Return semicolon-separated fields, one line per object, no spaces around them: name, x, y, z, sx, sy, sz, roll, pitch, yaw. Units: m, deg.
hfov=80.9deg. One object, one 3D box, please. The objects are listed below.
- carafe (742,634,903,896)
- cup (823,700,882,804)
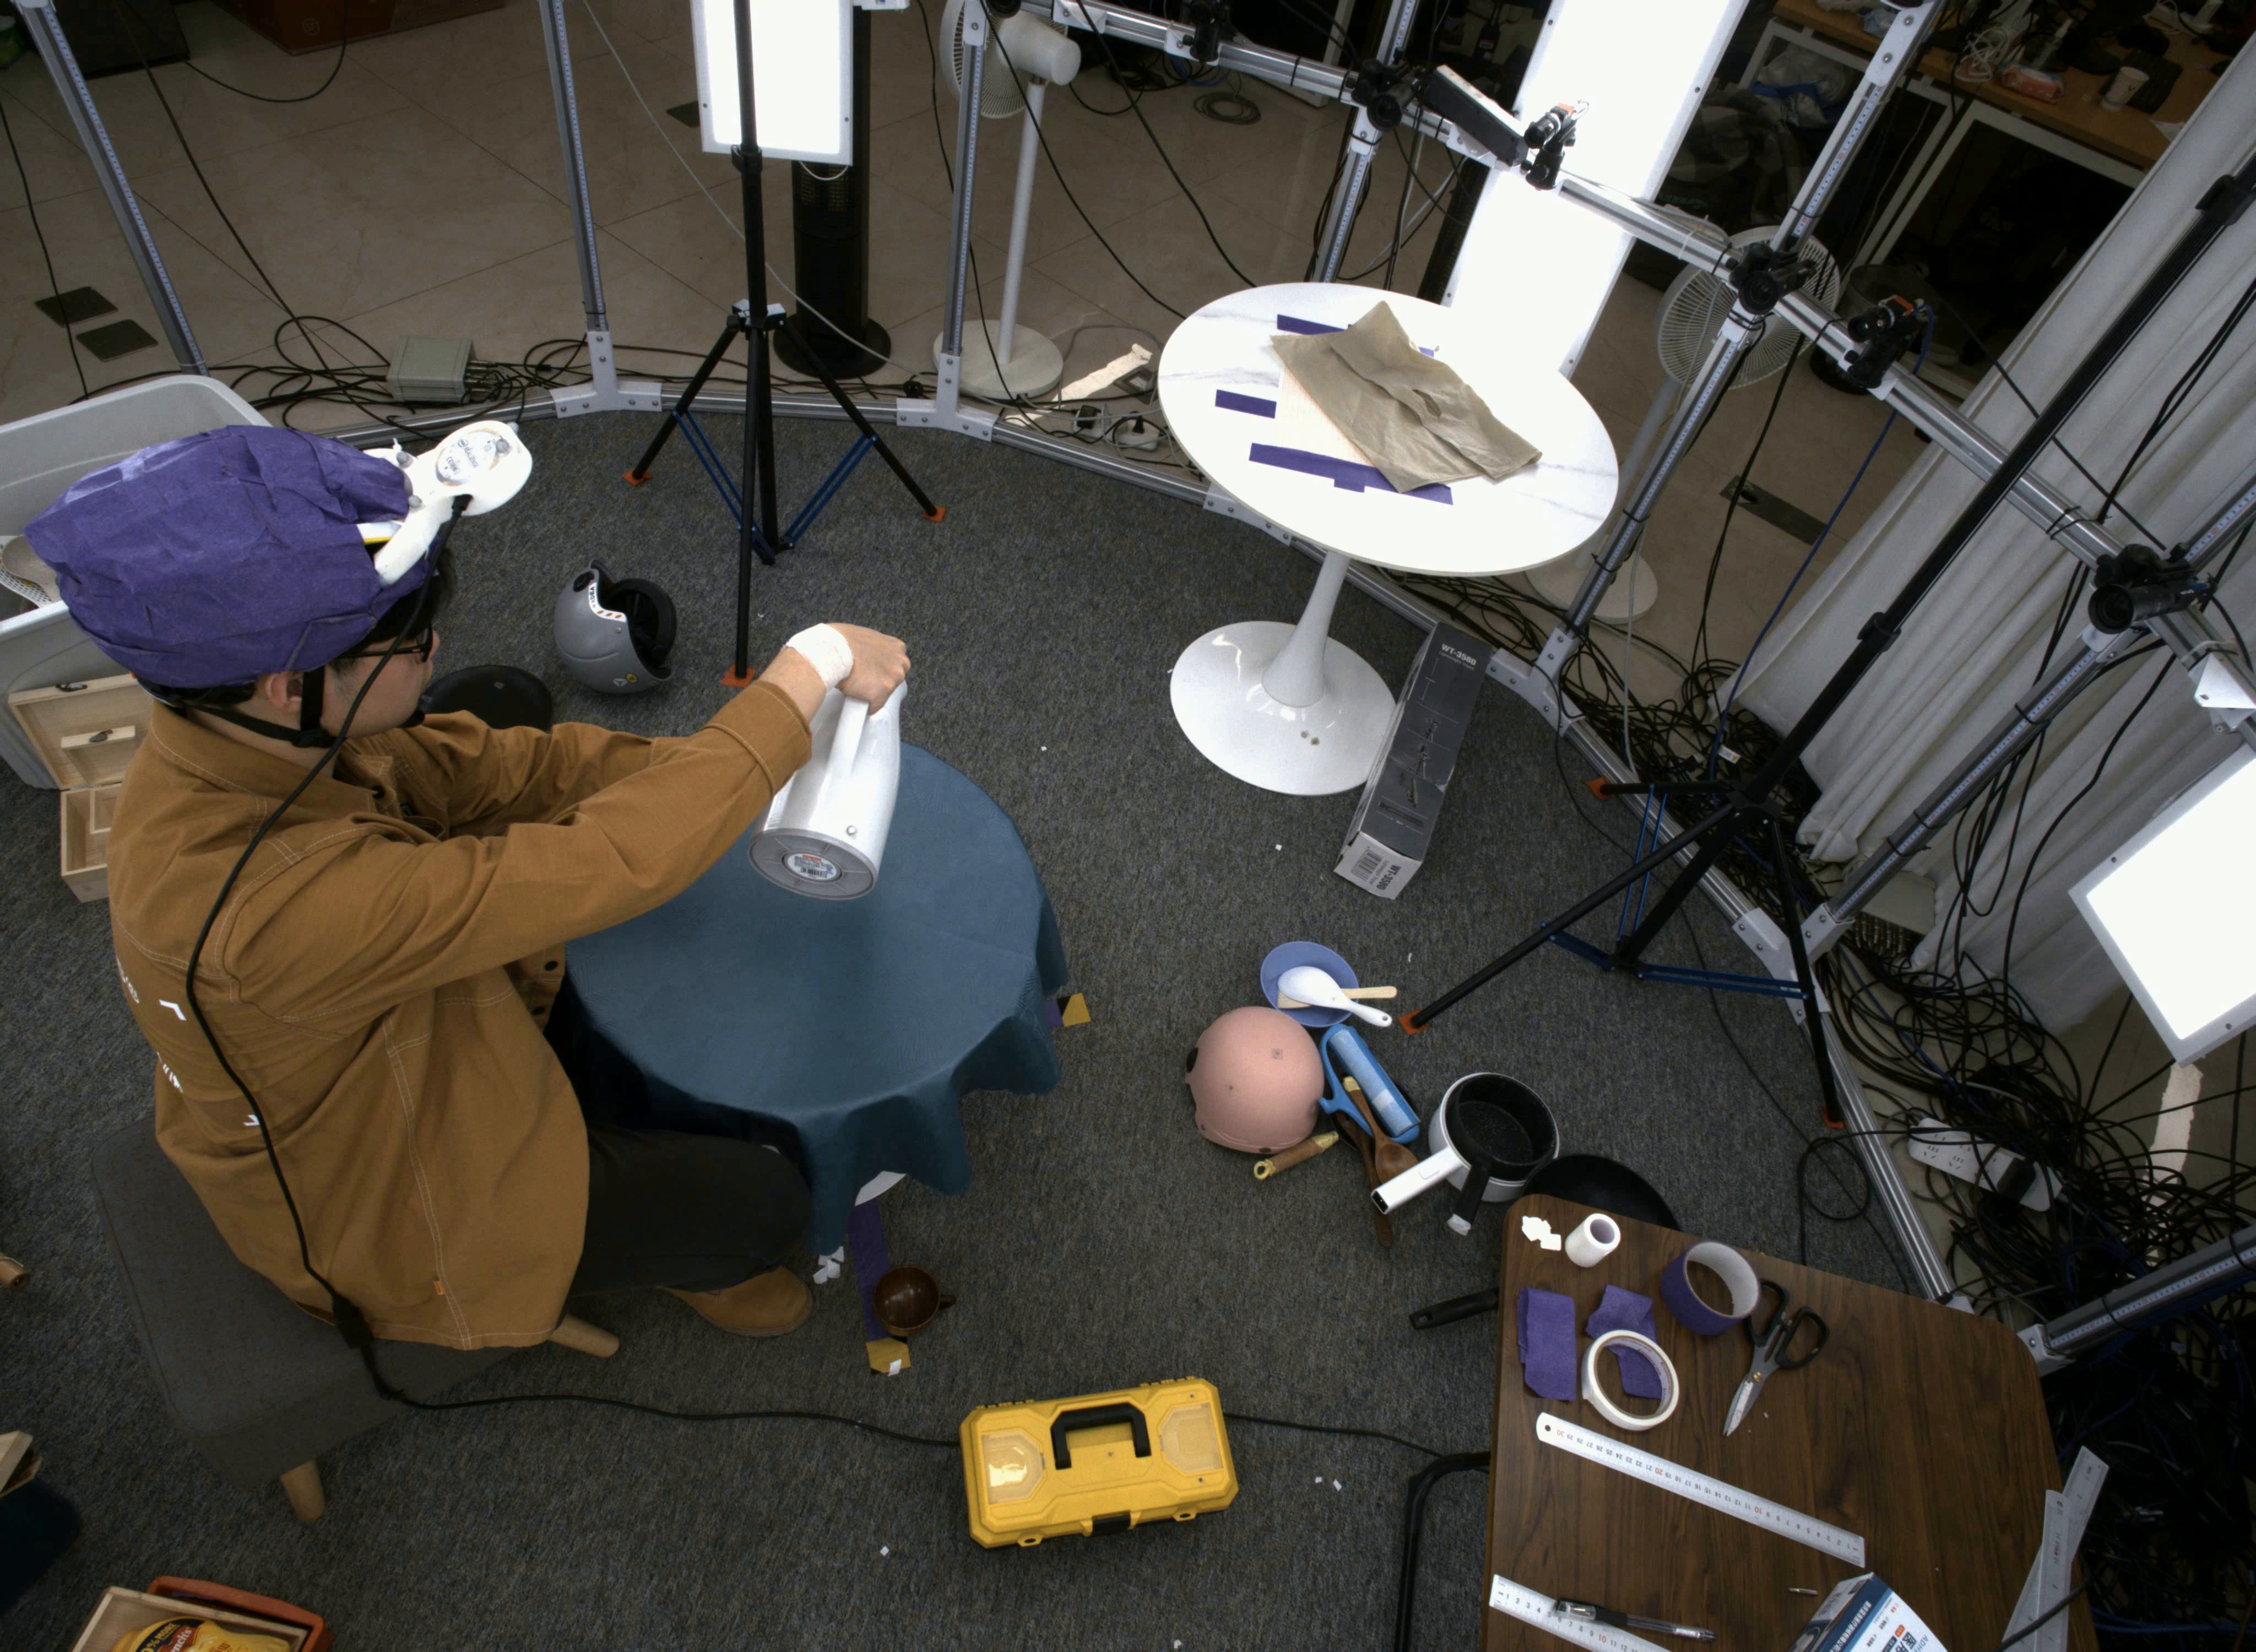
carafe;-0.298;-0.077;1.338;0.133;0.168;0.246;16;59;-13
cup;-0.330;-0.086;1.537;0.067;0.134;0.066;7;60;-12
